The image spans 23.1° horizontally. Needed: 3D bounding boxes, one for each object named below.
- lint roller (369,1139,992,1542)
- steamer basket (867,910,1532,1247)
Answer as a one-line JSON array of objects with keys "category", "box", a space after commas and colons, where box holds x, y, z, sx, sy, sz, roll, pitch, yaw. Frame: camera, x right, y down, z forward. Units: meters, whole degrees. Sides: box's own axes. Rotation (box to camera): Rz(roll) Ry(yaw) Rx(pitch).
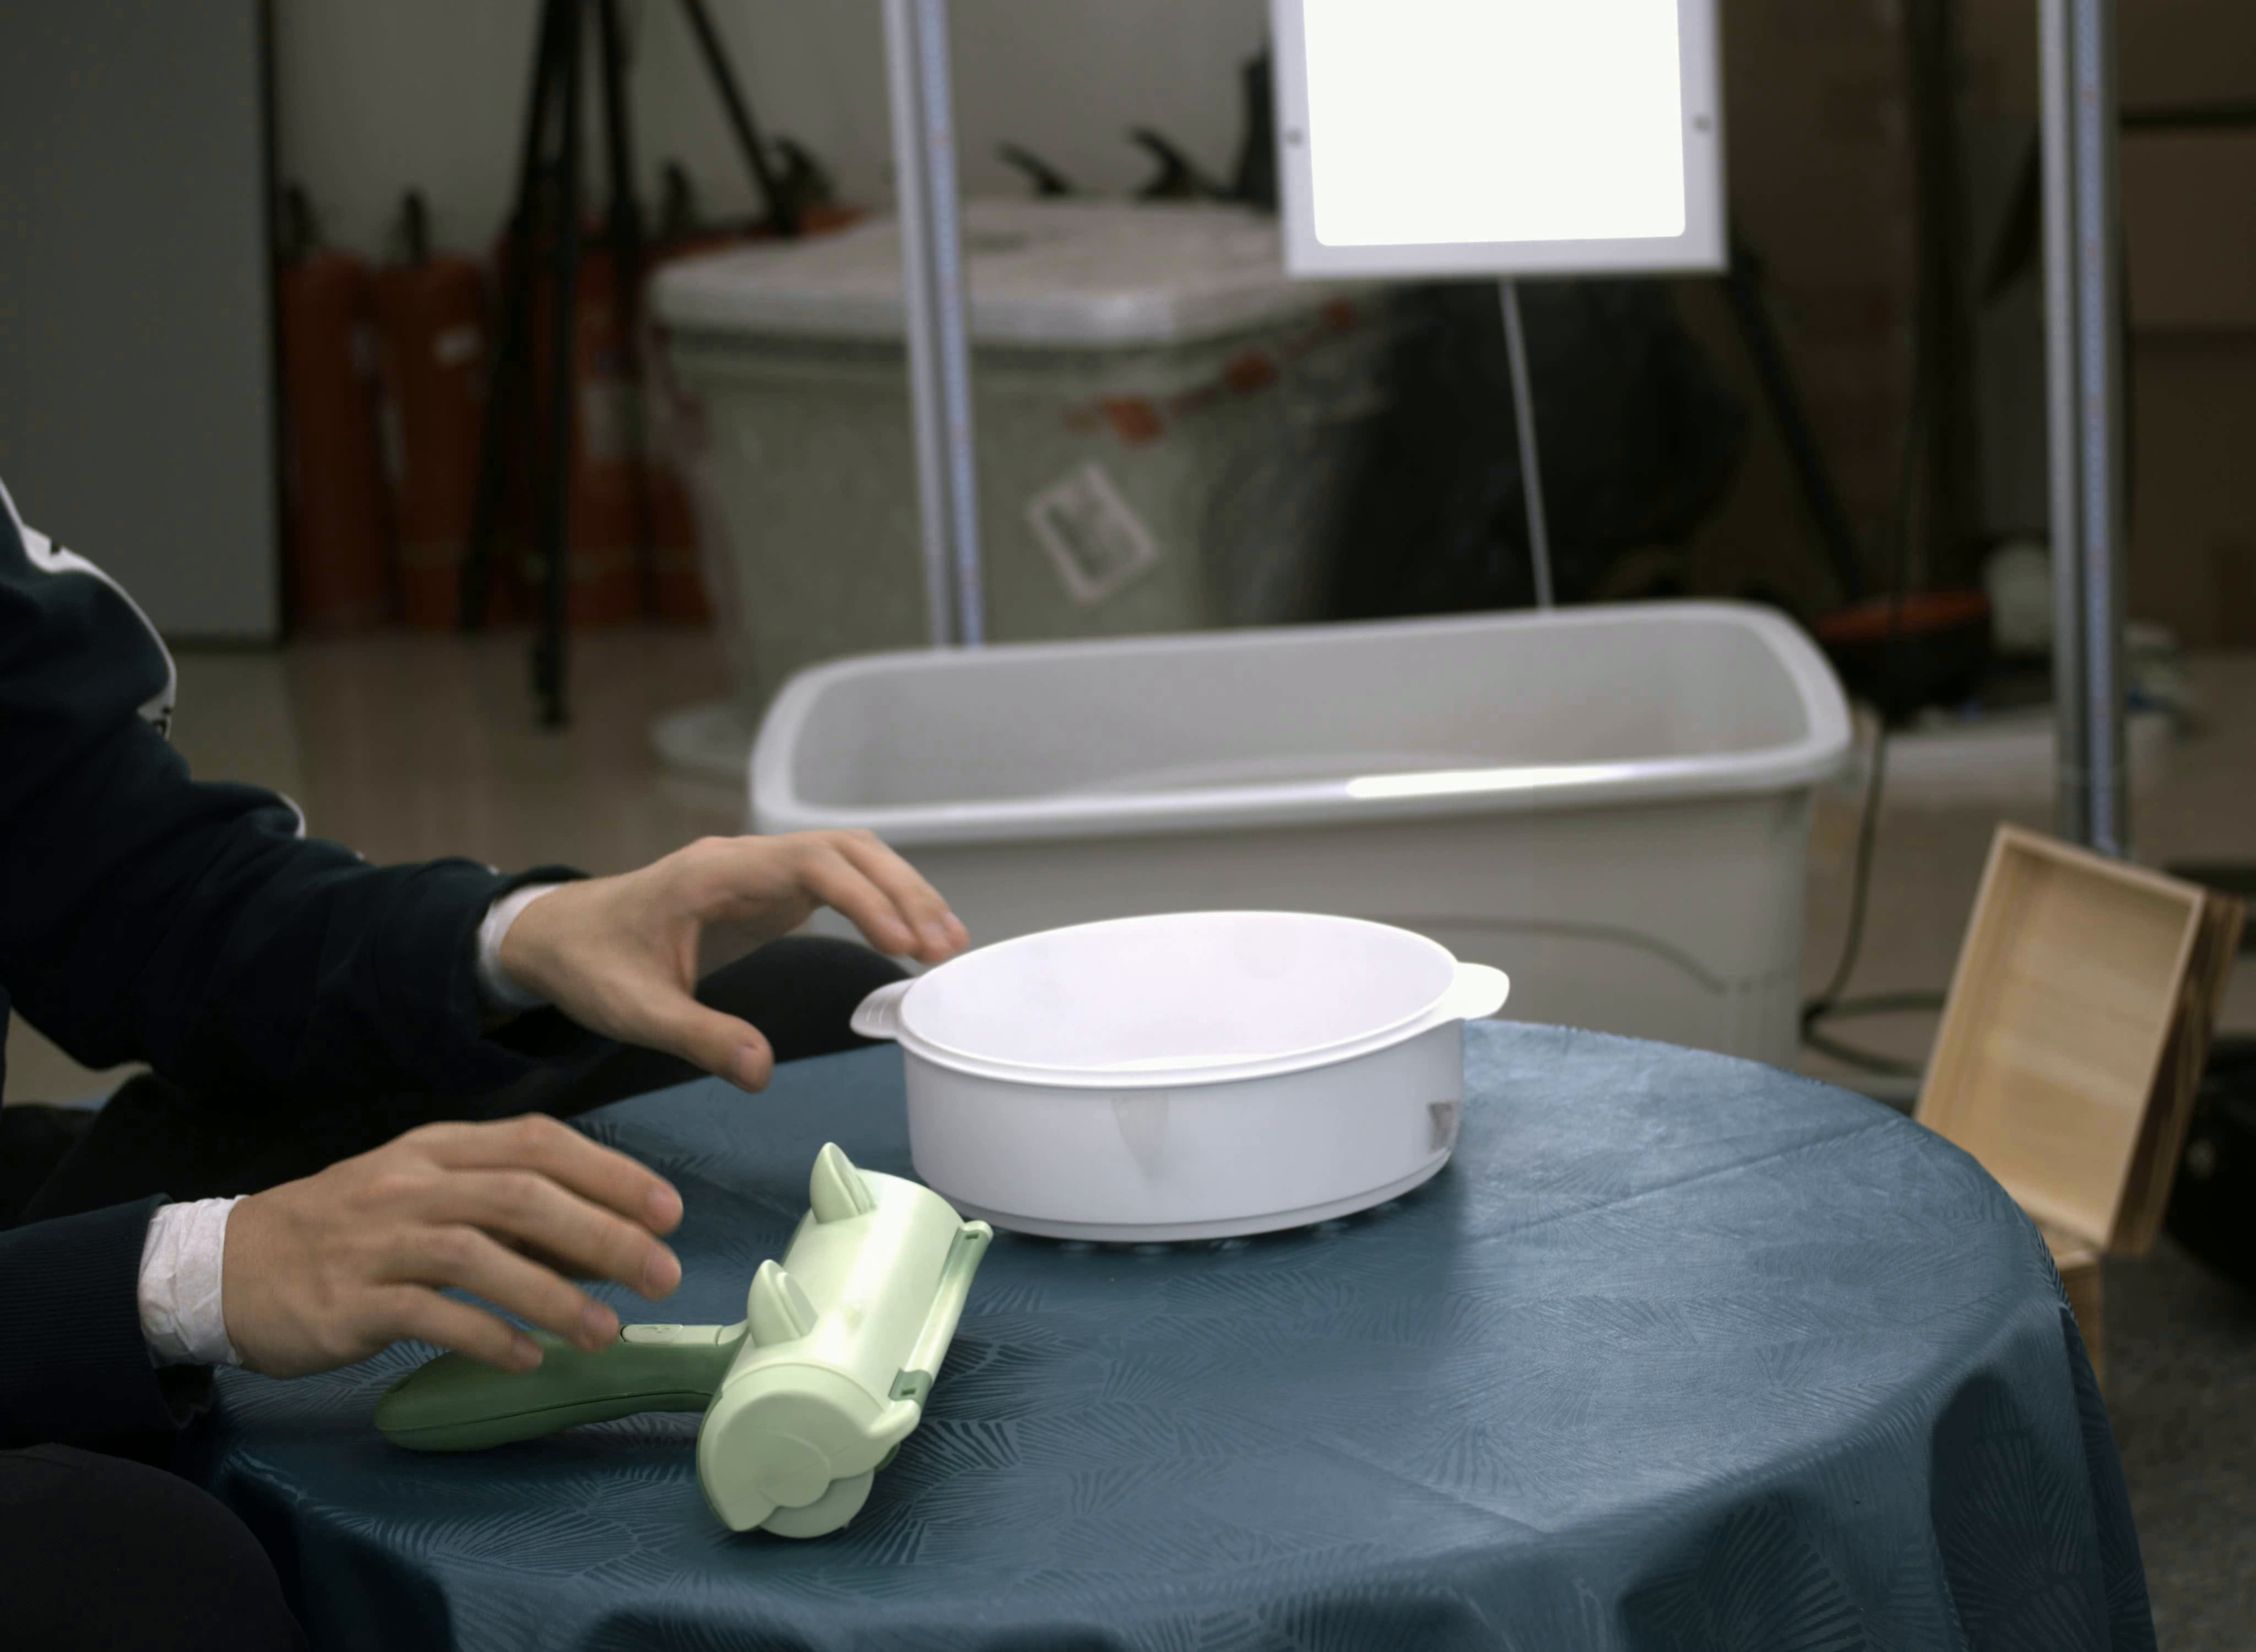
[{"category": "lint roller", "box": [-0.143, 0.151, 1.684, 0.184, 0.082, 0.197, 1, 15, 7]}, {"category": "steamer basket", "box": [0.026, 0.086, 1.903, 0.232, 0.069, 0.200, 0, 15, 10]}]
